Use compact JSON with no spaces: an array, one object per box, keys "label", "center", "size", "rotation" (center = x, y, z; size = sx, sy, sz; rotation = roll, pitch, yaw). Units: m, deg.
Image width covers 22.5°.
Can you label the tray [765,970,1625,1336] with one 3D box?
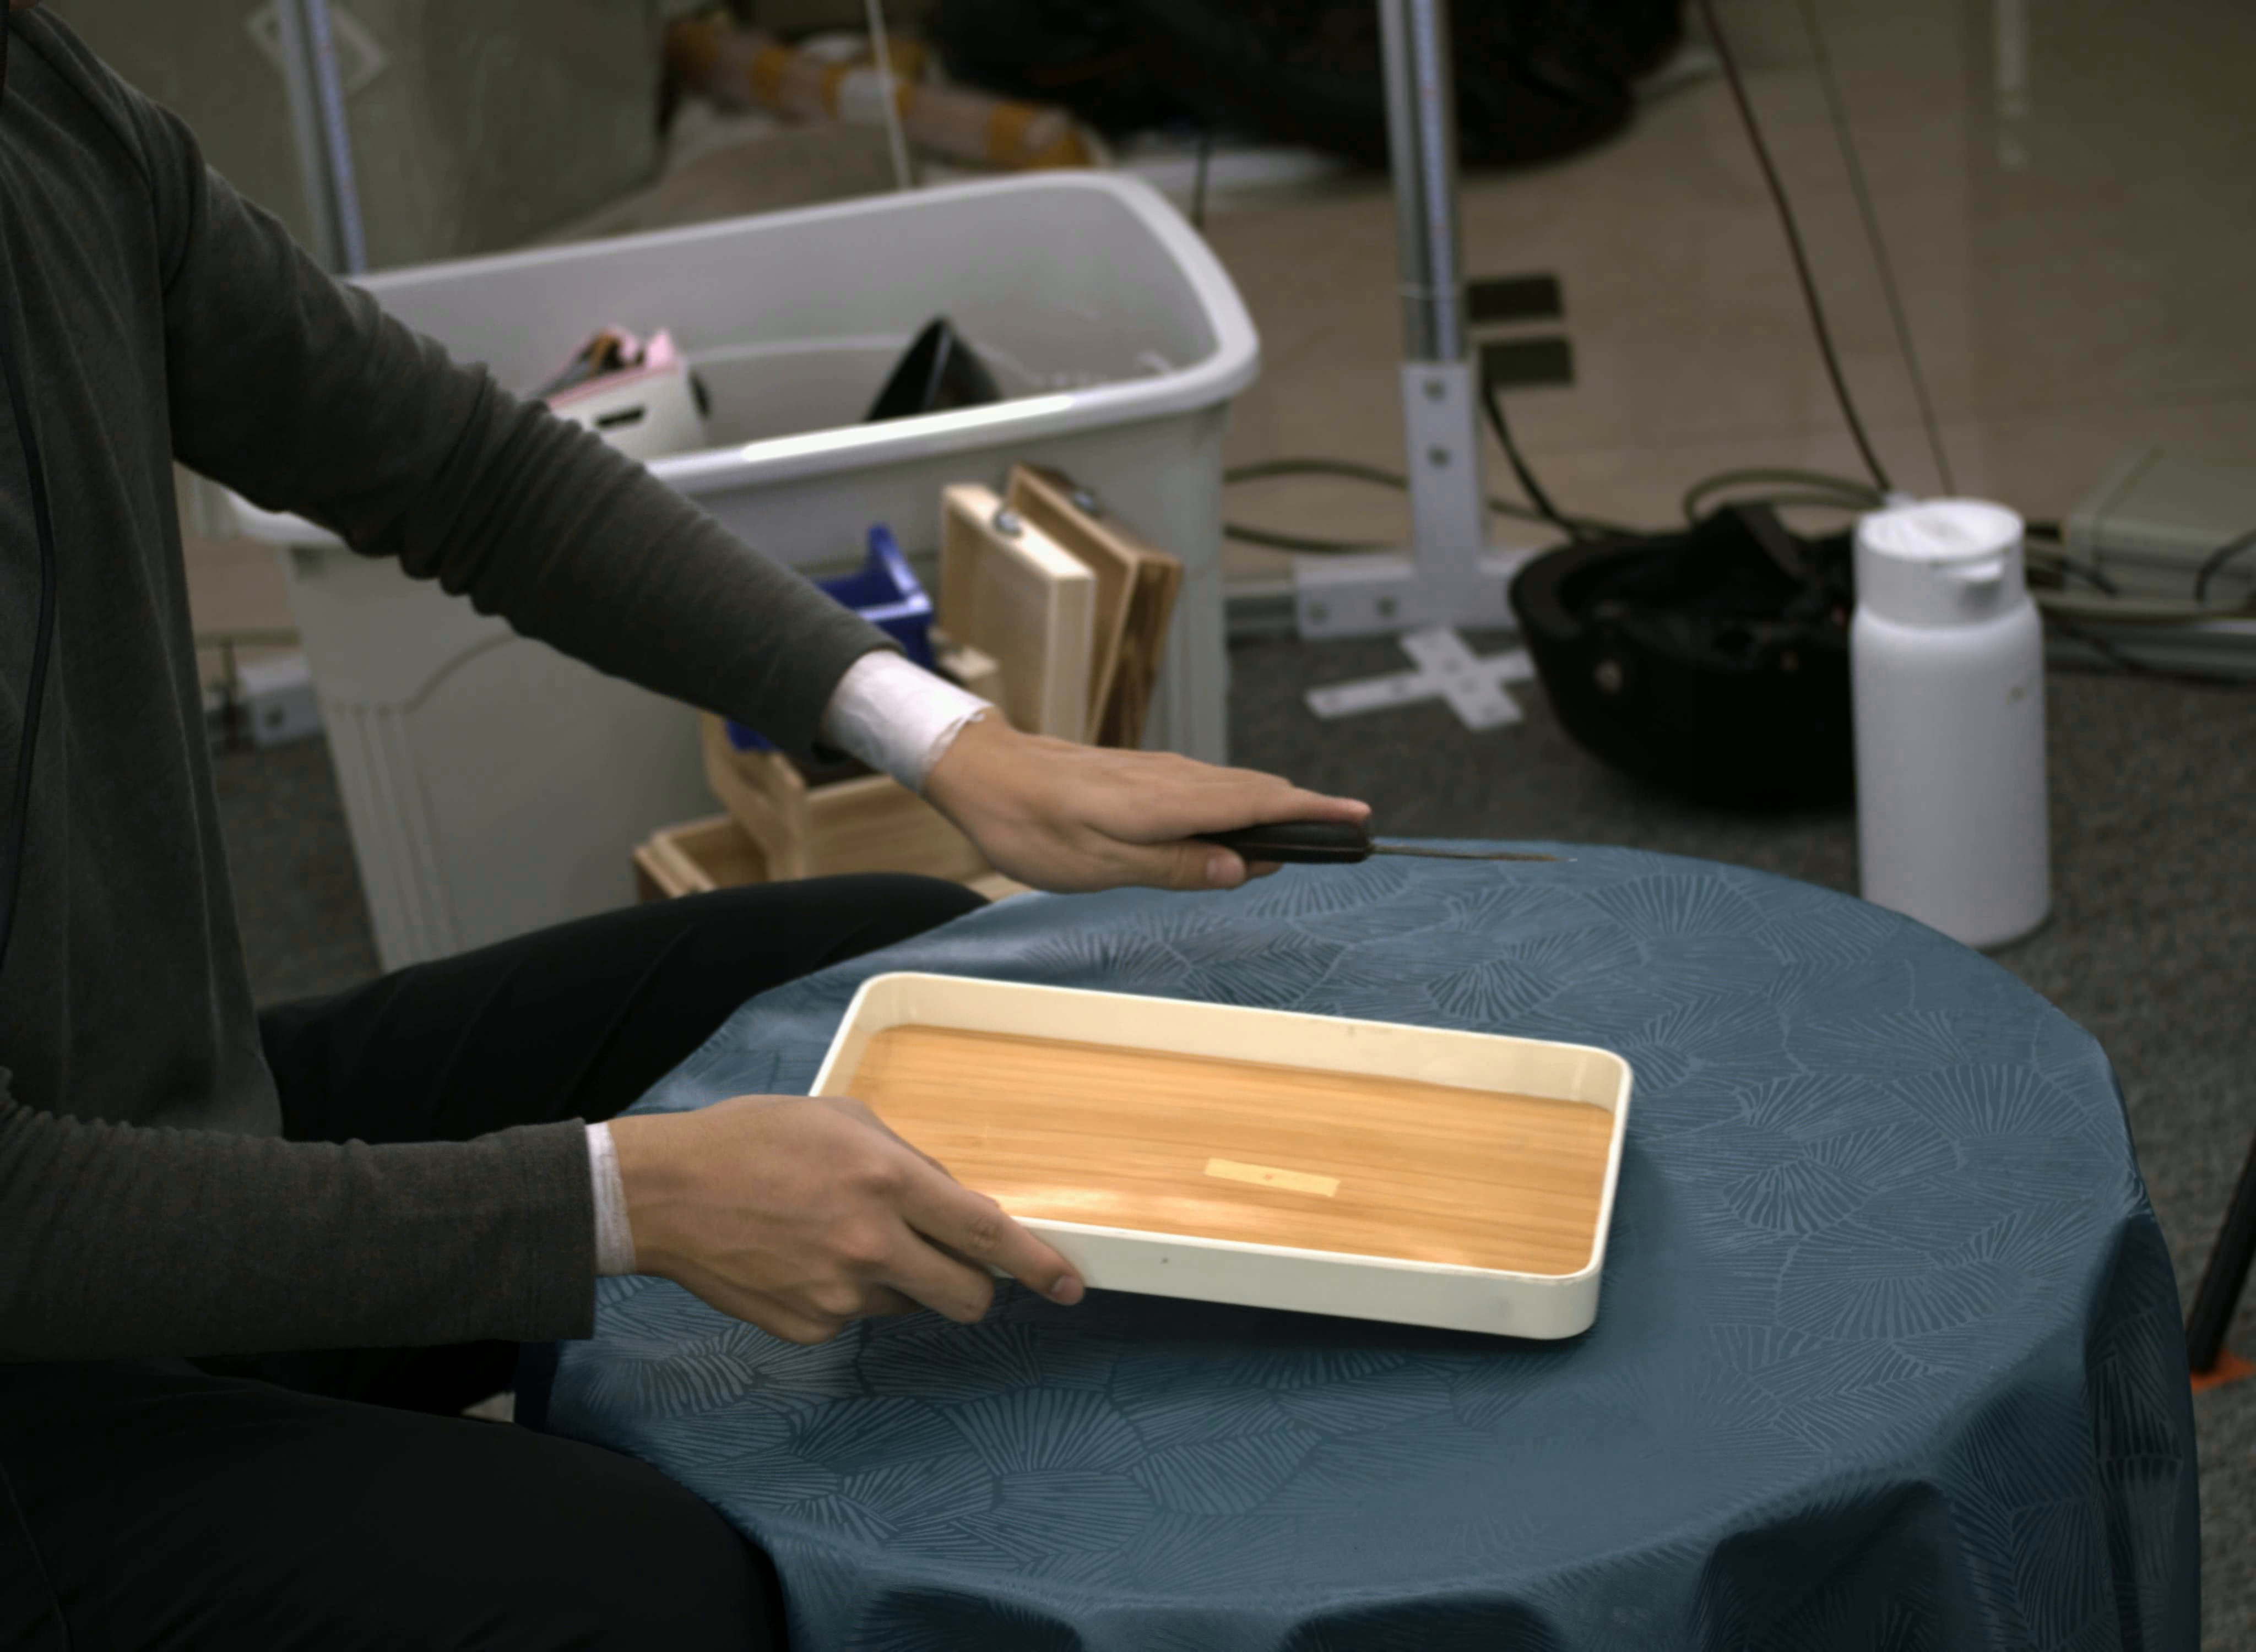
[{"label":"tray","center":[0.028,0.119,2.100],"size":[0.299,0.028,0.189],"rotation":[7,24,7]}]

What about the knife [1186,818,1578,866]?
[{"label":"knife","center":[0.095,0.009,2.219],"size":[0.024,0.016,0.237],"rotation":[-11,9,-35]}]
